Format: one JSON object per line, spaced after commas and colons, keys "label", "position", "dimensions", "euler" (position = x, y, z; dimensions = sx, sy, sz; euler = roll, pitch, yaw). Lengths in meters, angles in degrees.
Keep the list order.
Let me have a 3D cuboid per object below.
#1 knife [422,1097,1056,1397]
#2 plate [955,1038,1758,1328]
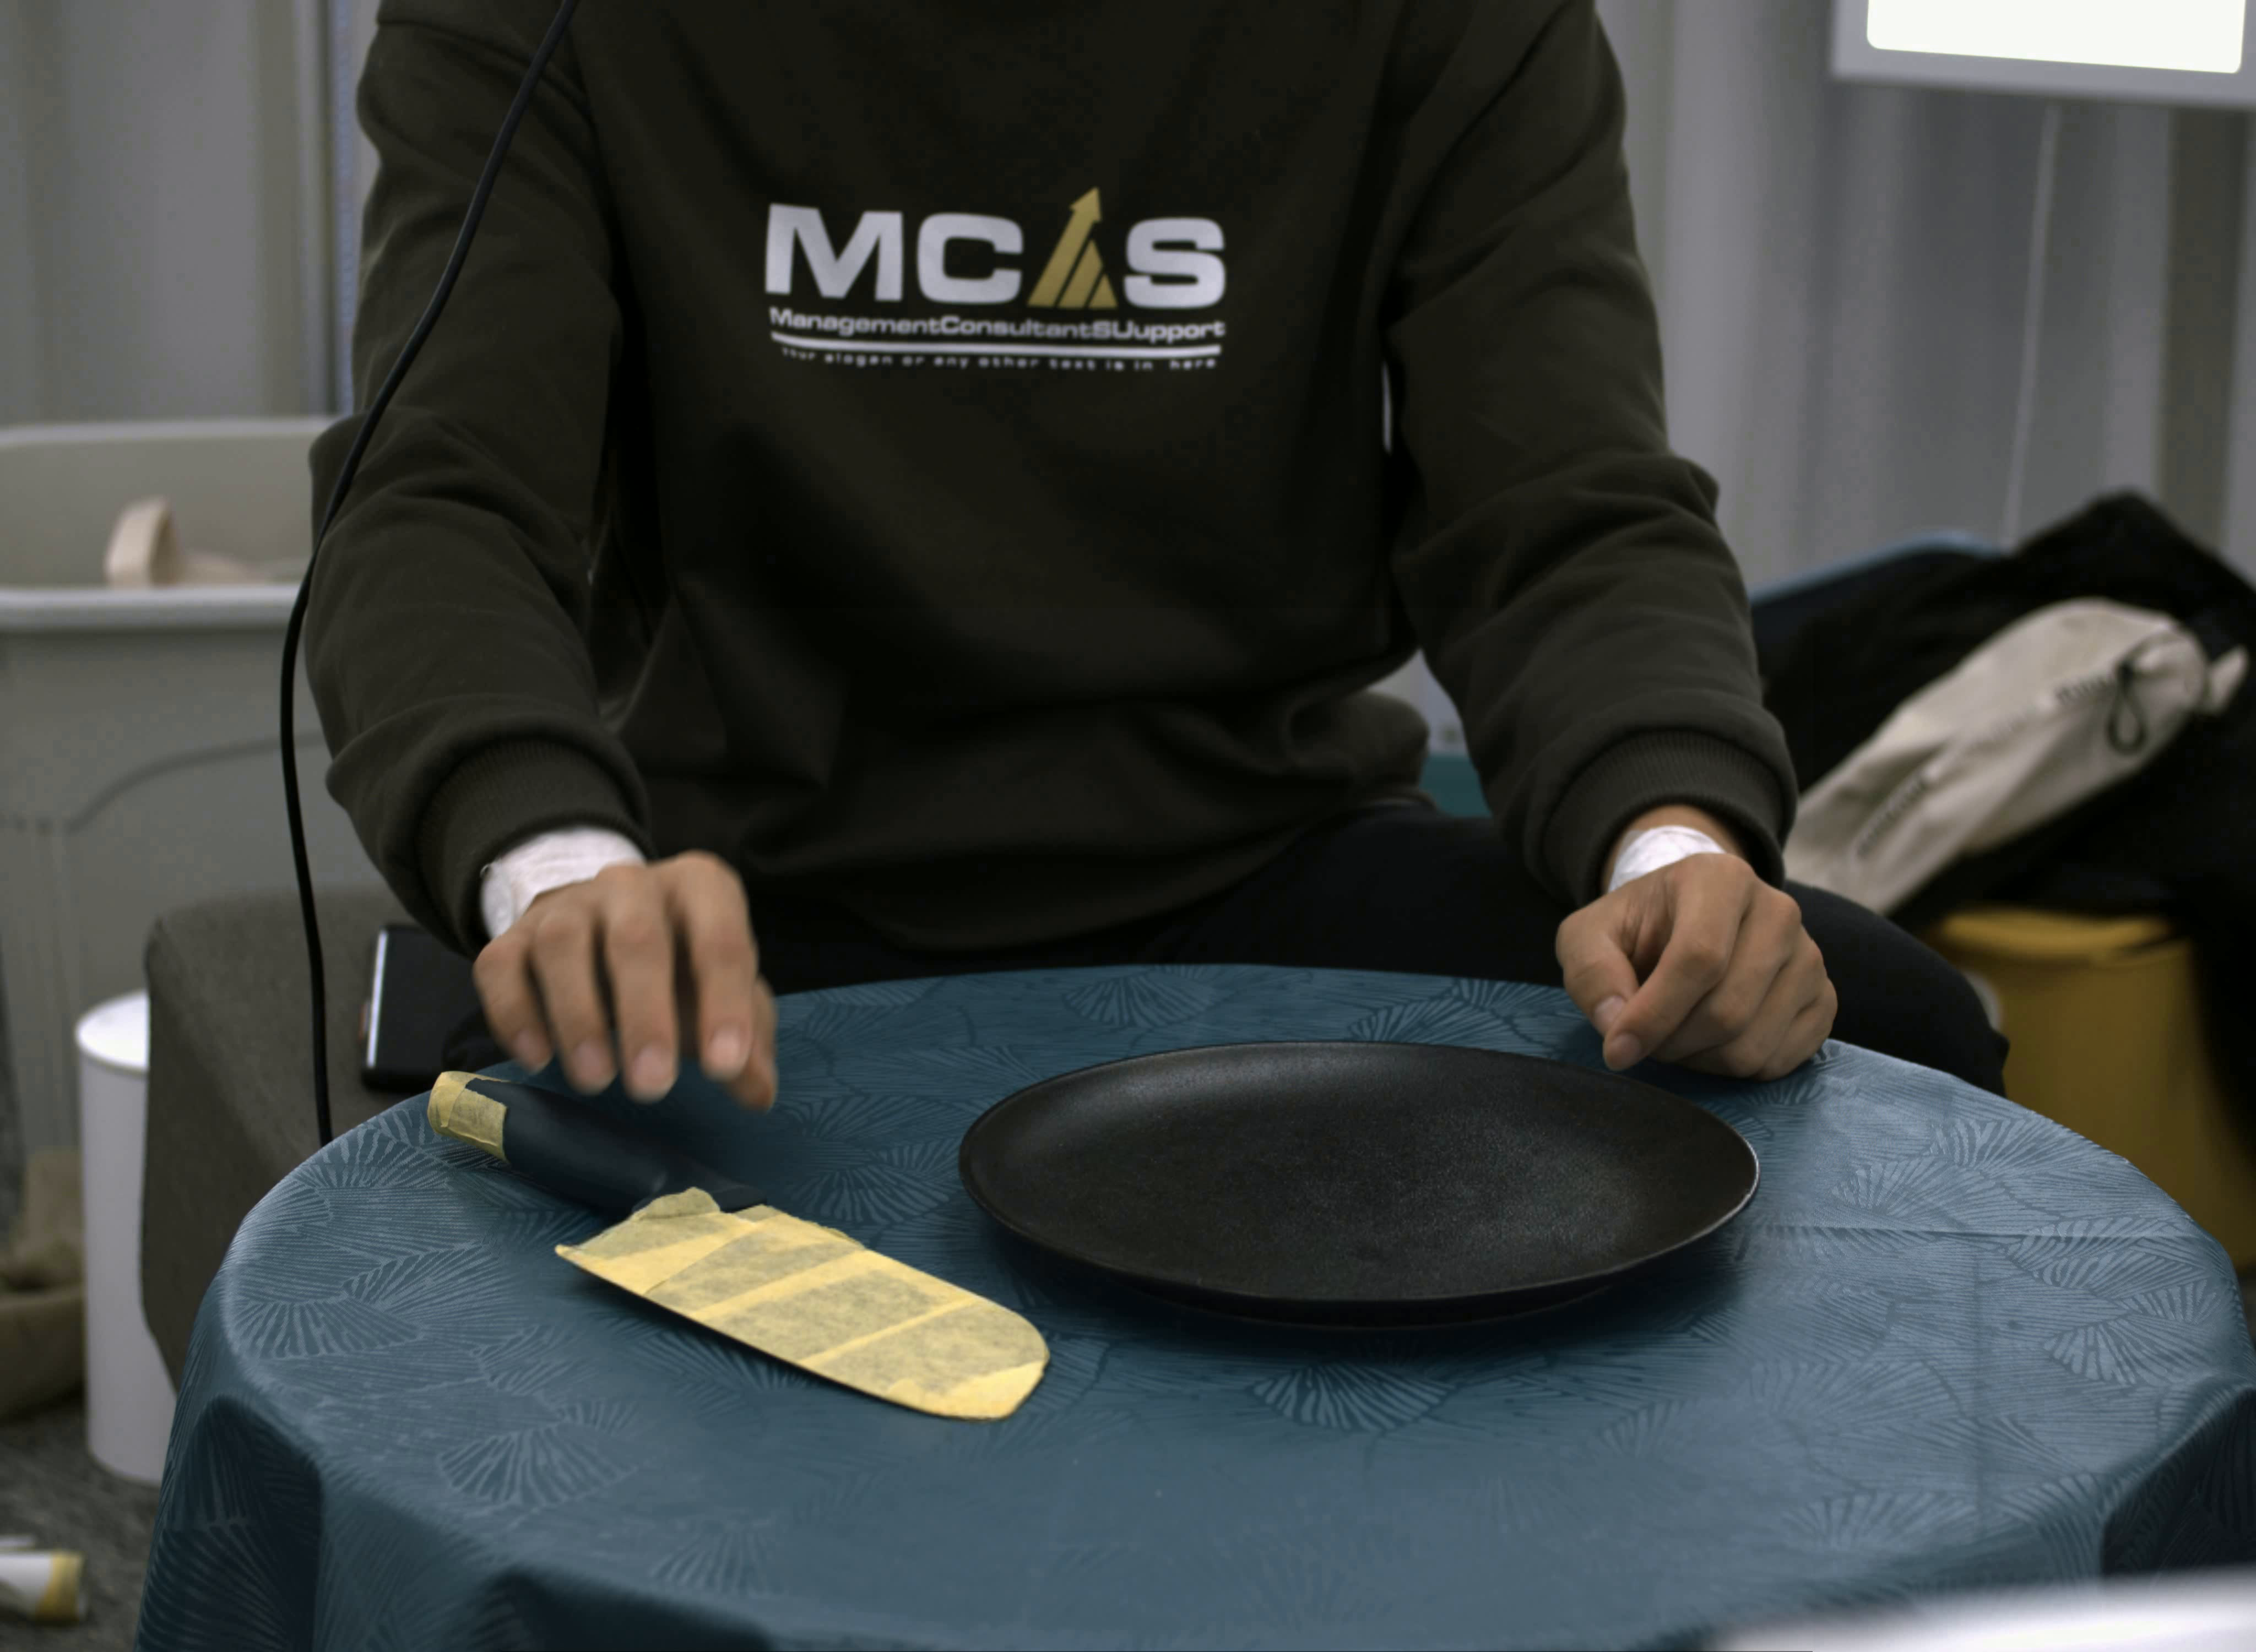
{"label": "knife", "position": [-0.125, 0.125, 1.546], "dimensions": [0.081, 0.027, 0.285], "euler": [-11, 20, -42]}
{"label": "plate", "position": [0.068, 0.110, 1.592], "dimensions": [0.243, 0.023, 0.243], "euler": [1, 15, 0]}
